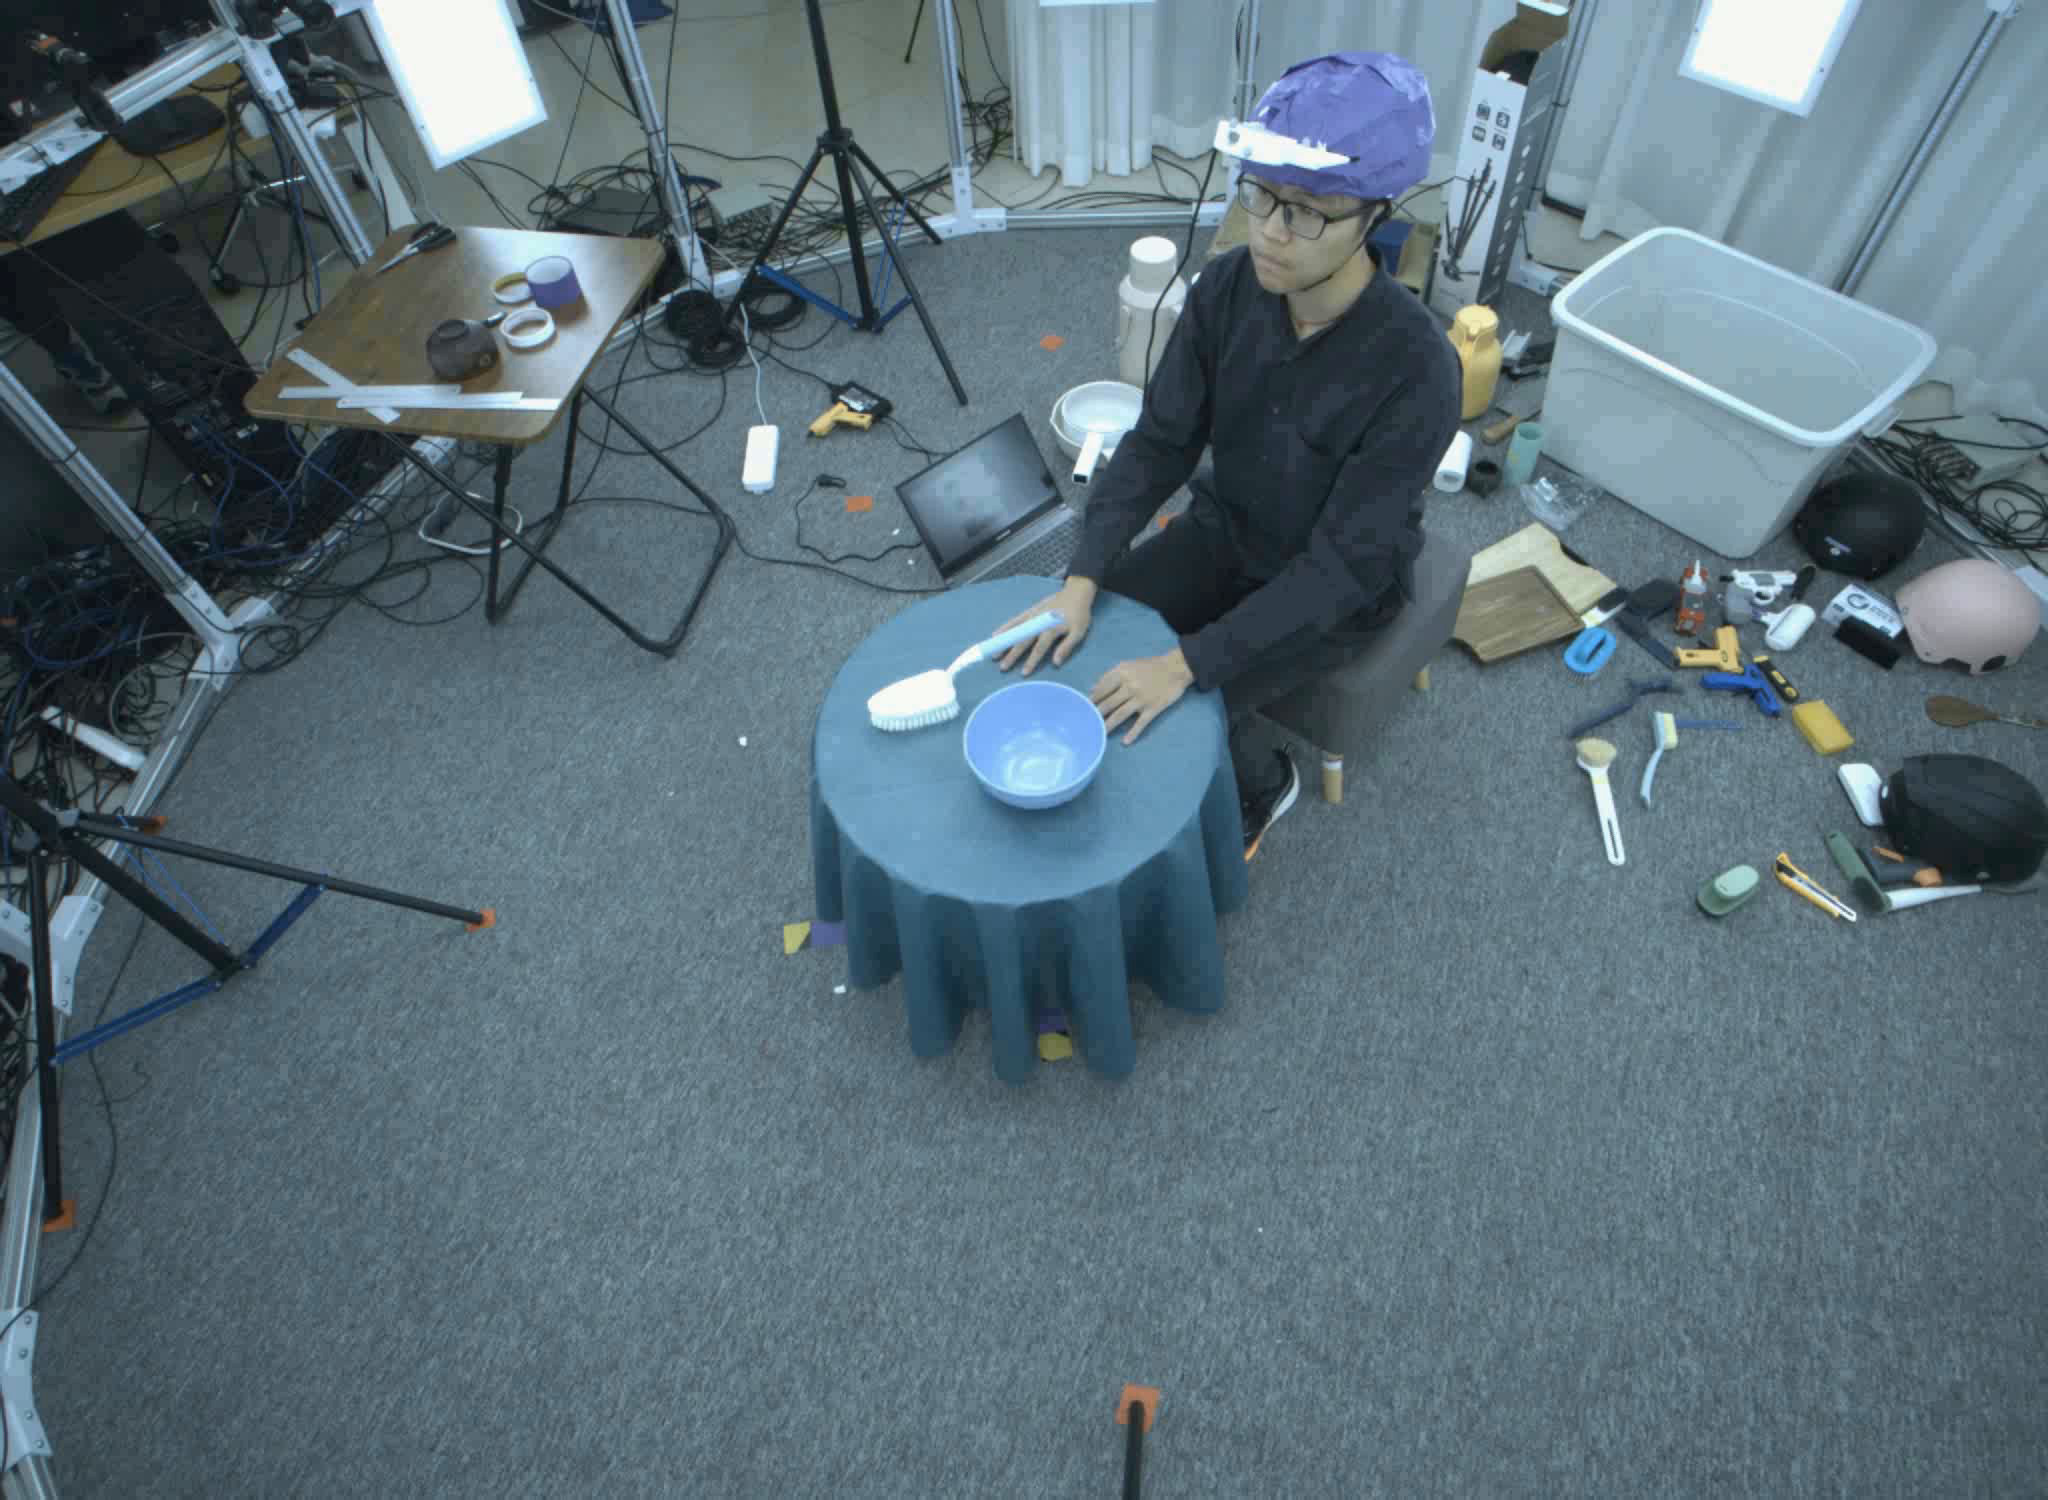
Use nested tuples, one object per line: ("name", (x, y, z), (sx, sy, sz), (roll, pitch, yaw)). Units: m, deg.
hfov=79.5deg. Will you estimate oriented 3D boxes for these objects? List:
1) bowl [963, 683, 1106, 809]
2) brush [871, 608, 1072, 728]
("bowl", (0.017, 0.009, 1.726), (0.196, 0.096, 0.194), (0, 53, 2))
("brush", (-0.071, -0.111, 1.818), (0.326, 0.084, 0.083), (-25, 93, -1))
